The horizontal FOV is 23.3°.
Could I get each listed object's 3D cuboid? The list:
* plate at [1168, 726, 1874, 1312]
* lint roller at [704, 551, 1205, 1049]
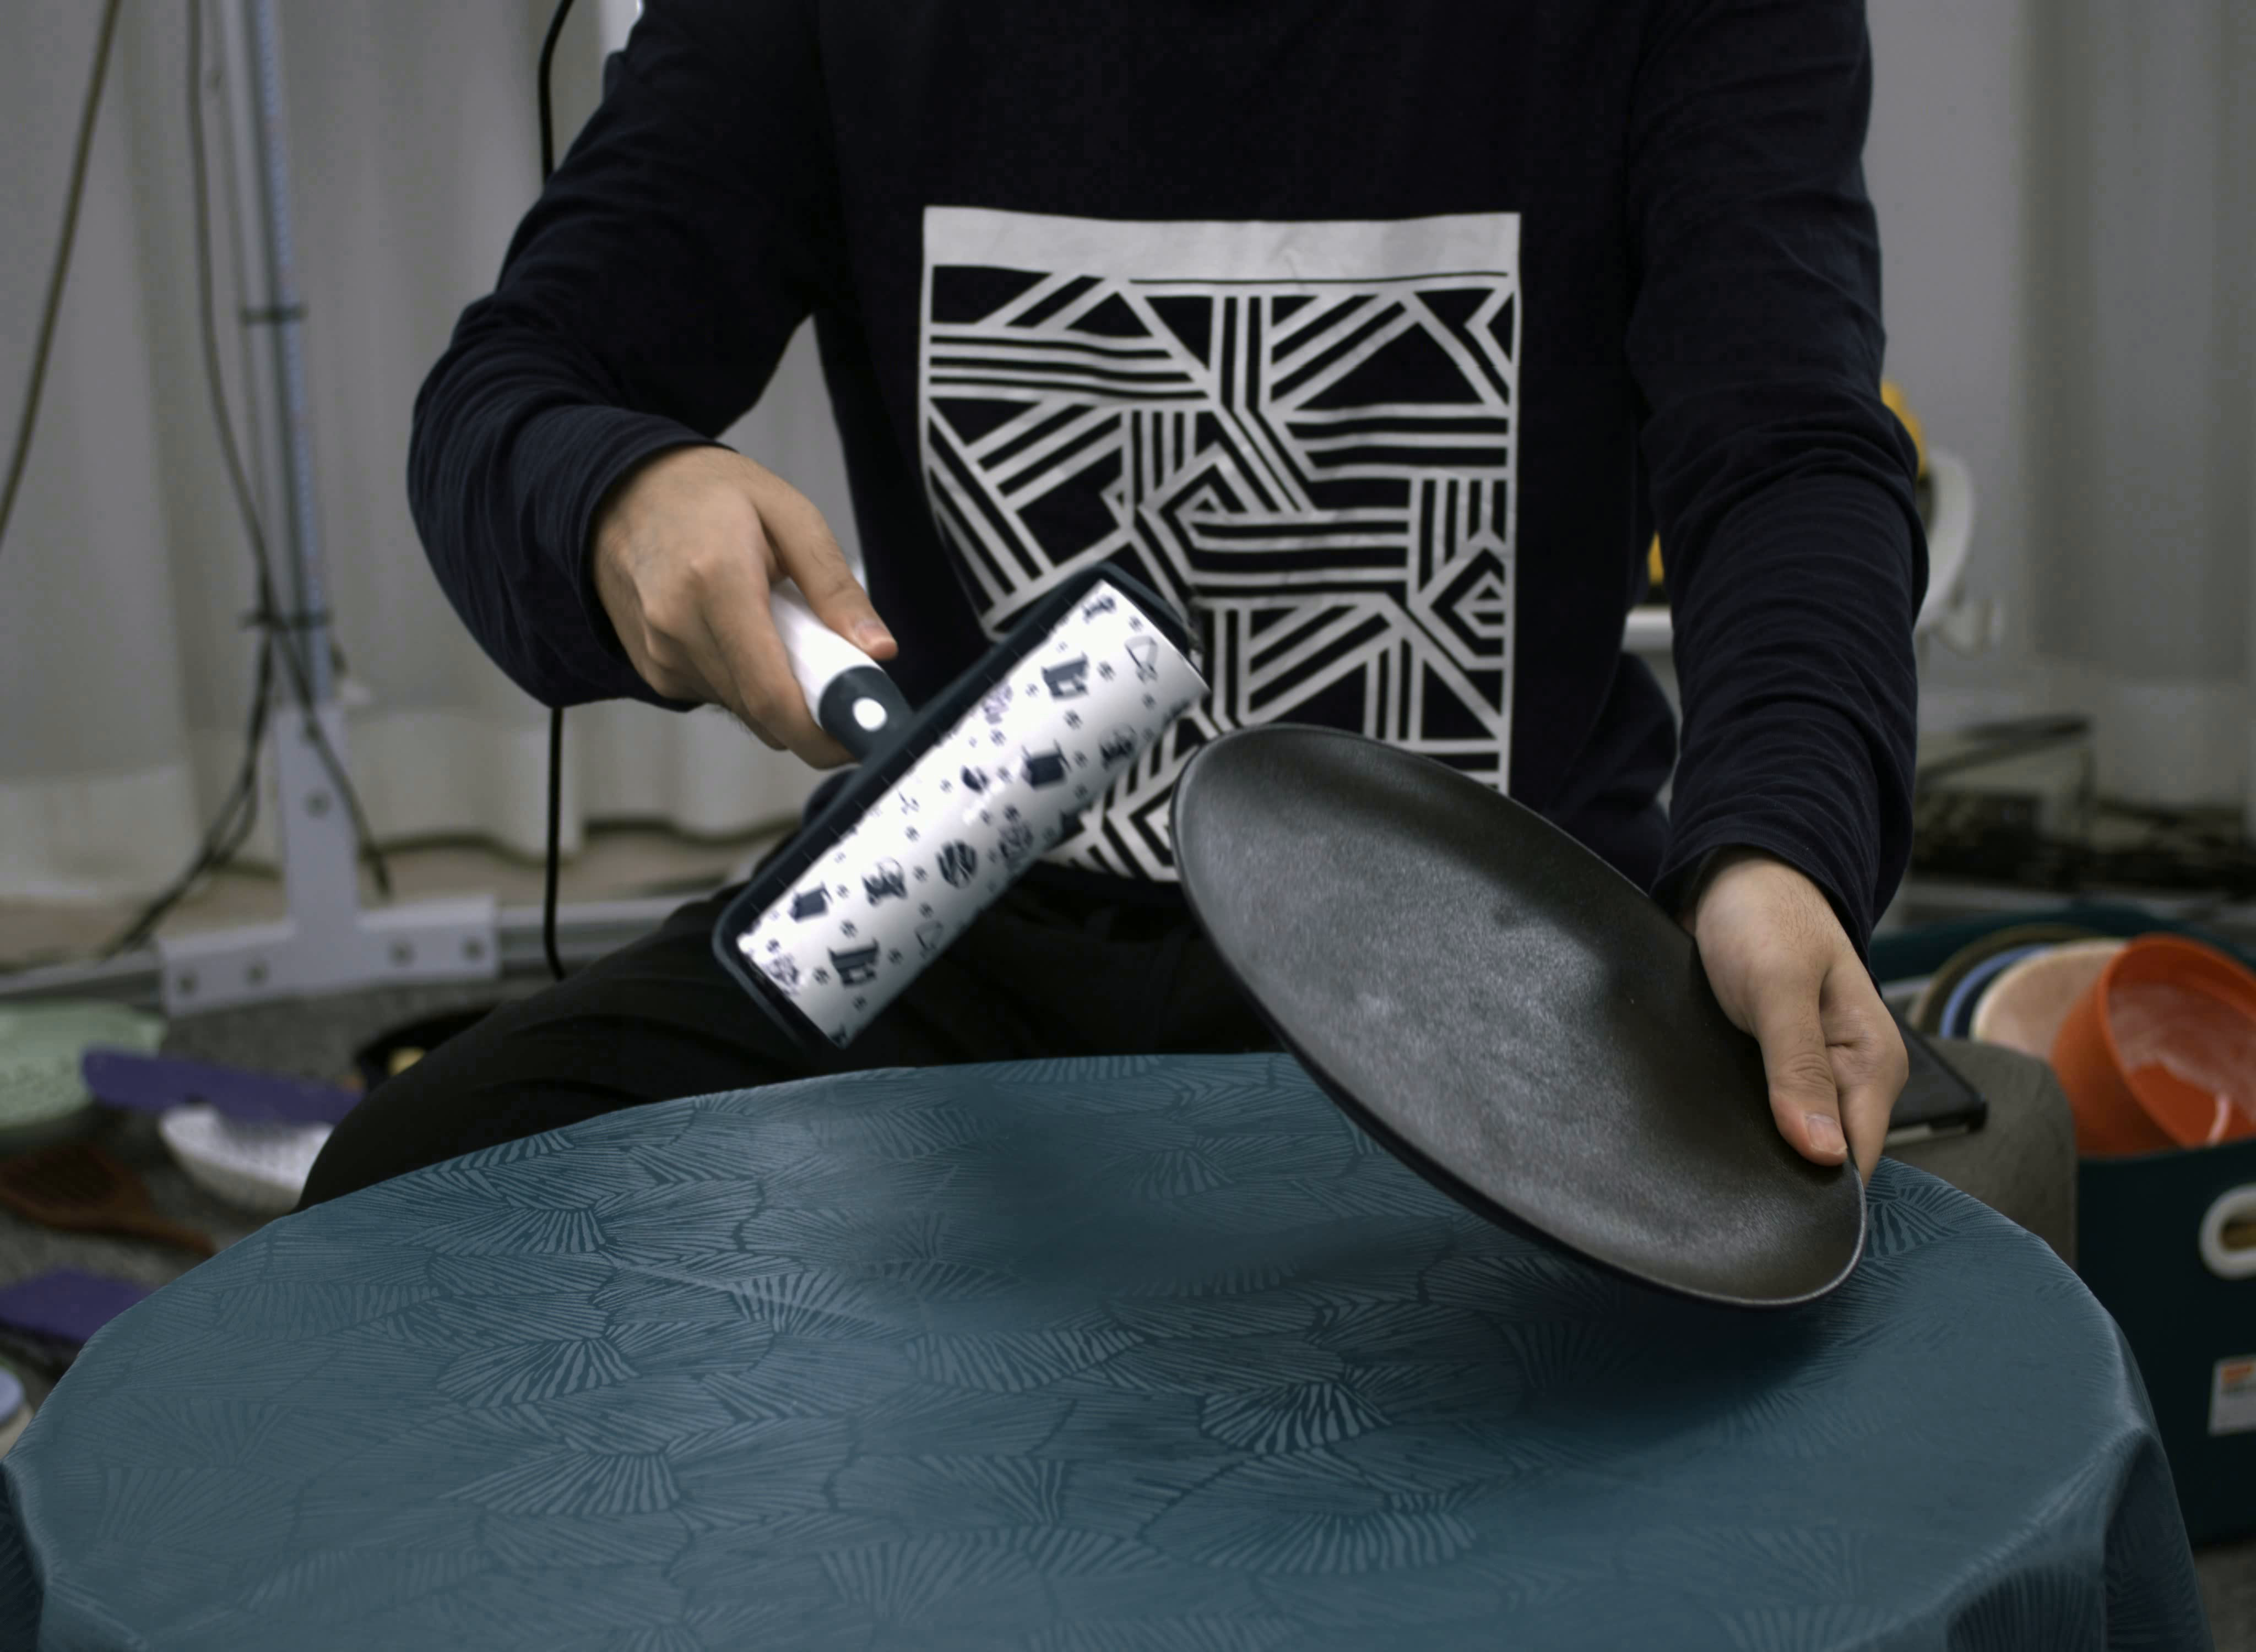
[{"bbox_3d":[0.111,0.060,1.590,0.242,0.023,0.247,27,26,-15],"label":"plate"},{"bbox_3d":[-0.092,-0.041,1.769,0.176,0.050,0.250,-45,36,-3],"label":"lint roller"}]
